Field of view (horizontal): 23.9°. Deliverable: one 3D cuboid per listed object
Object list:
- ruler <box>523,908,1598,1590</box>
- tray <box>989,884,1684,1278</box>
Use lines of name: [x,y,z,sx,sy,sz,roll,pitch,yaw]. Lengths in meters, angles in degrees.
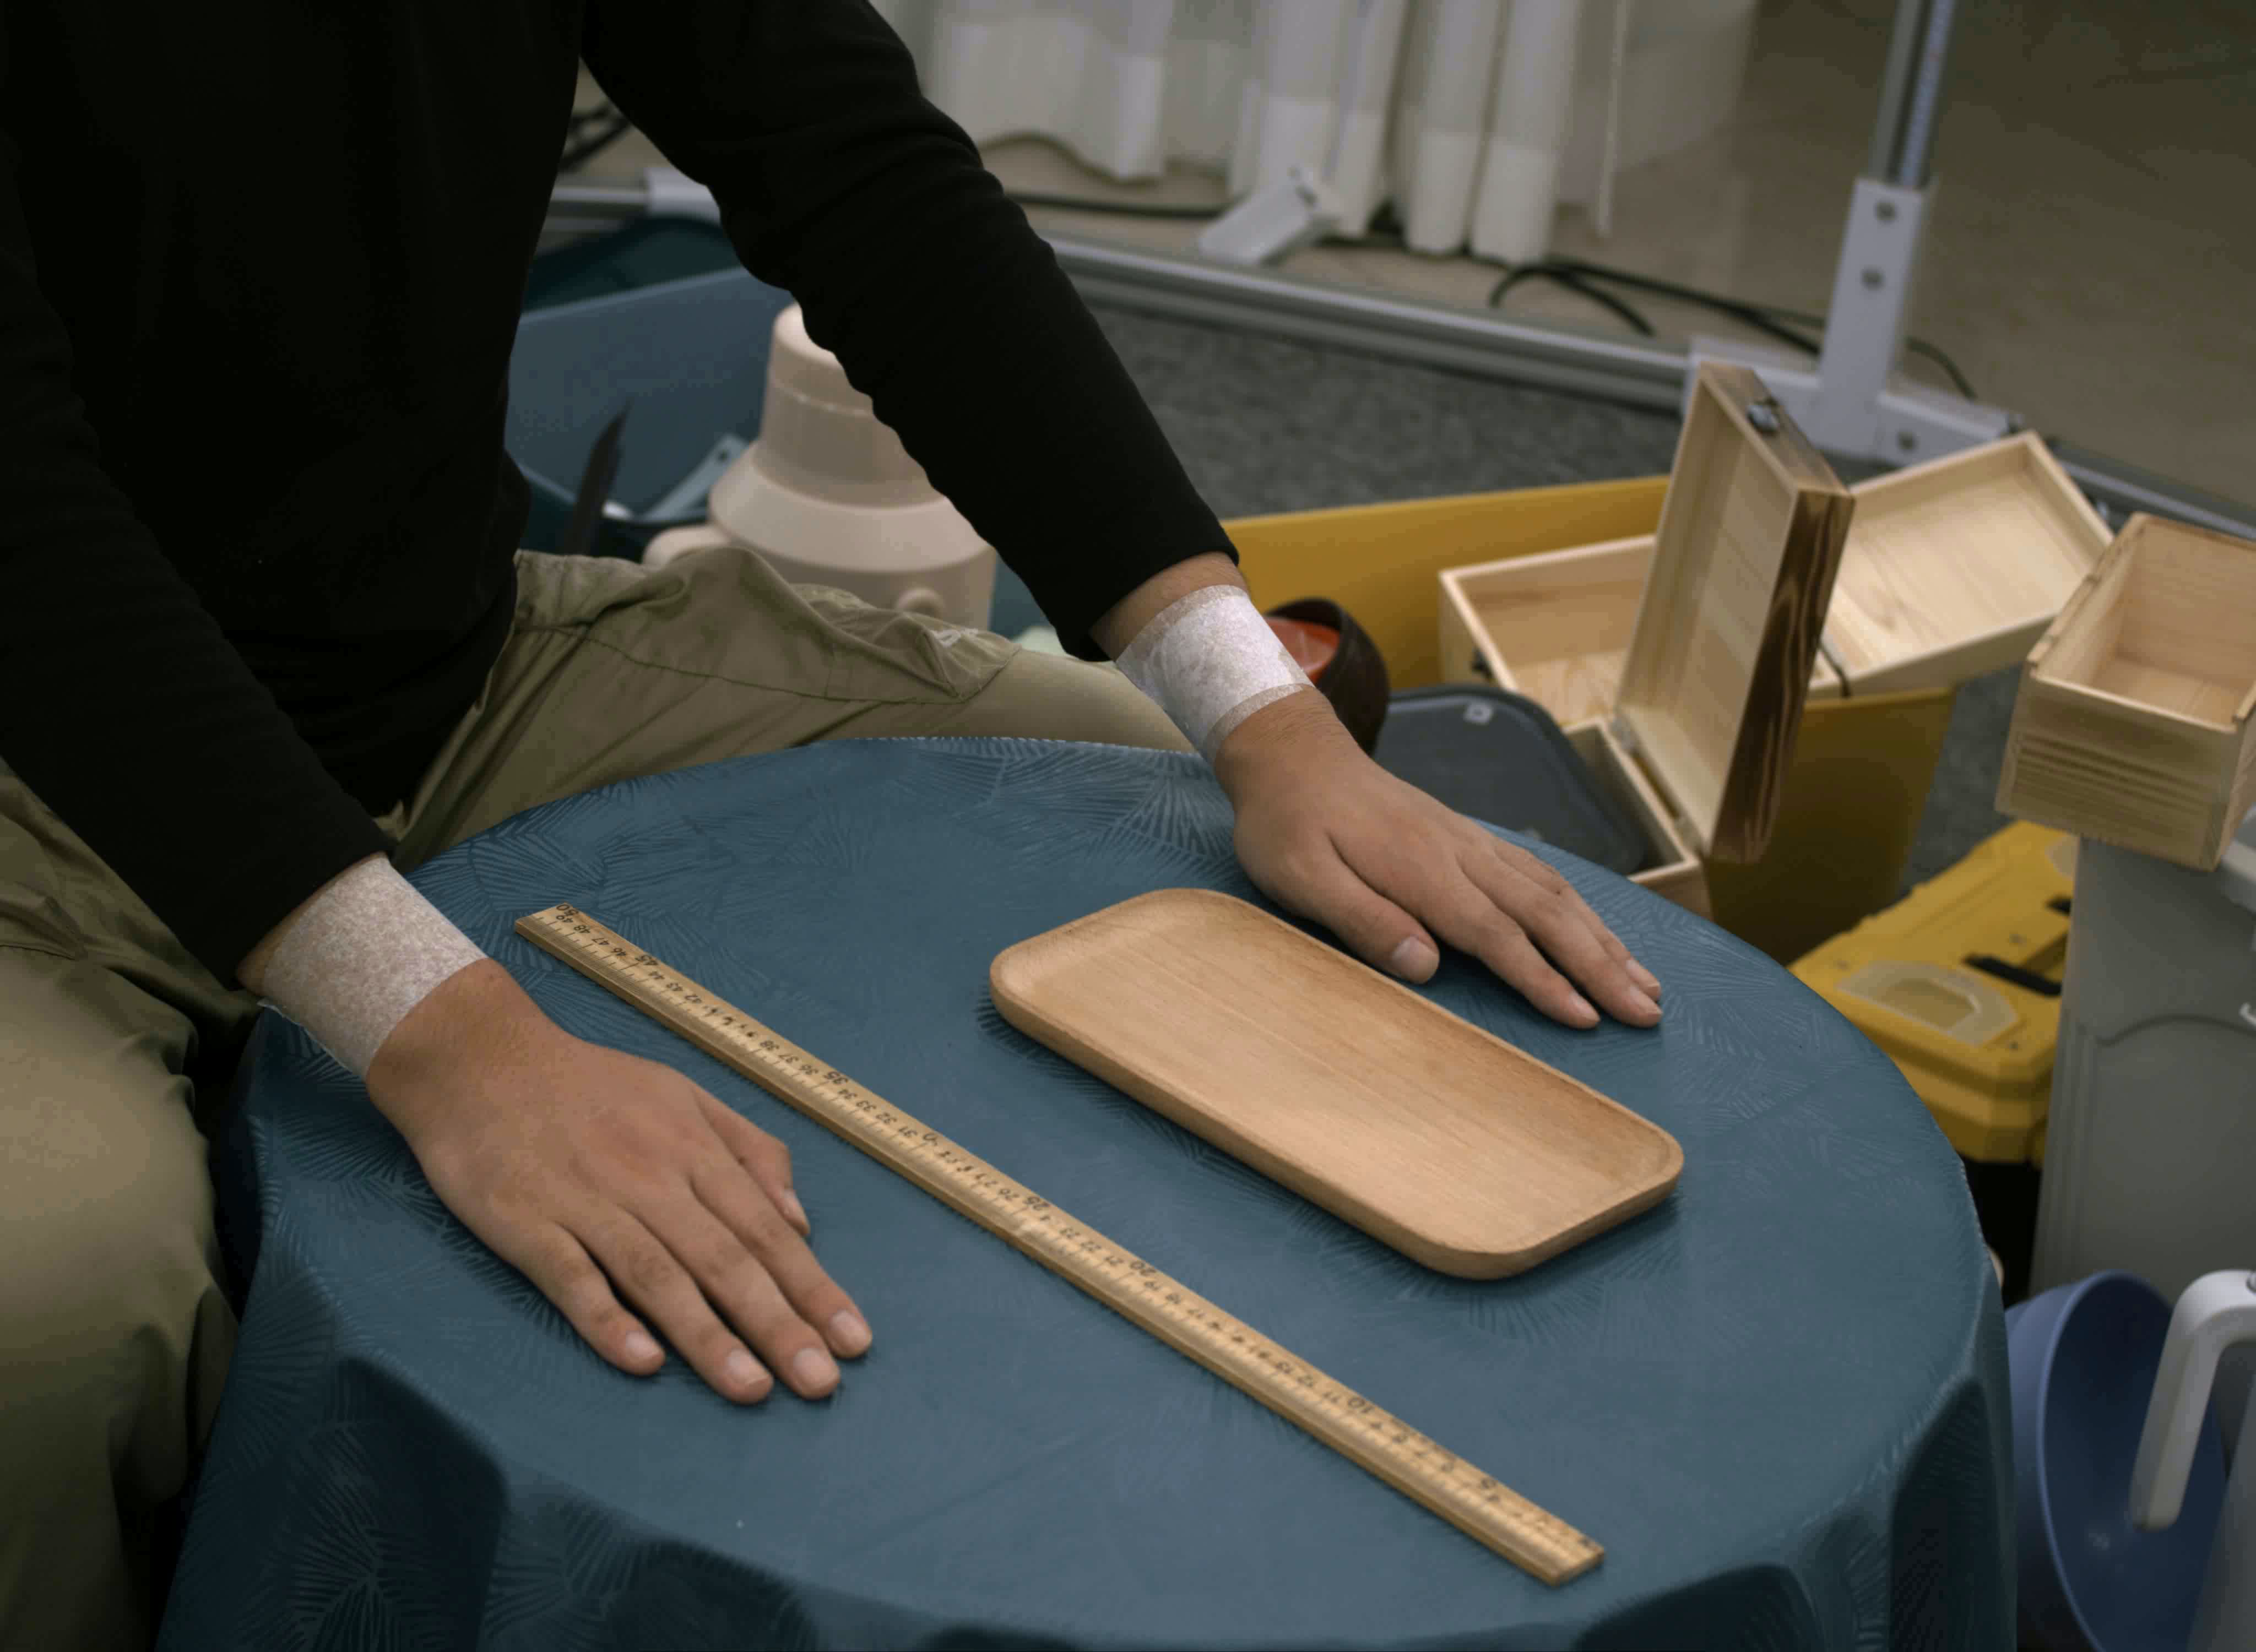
ruler: [-0.036,0.131,1.775,0.026,0.006,0.504,-16,34,-42]
tray: [0.070,0.087,1.871,0.130,0.023,0.252,-17,34,-42]
